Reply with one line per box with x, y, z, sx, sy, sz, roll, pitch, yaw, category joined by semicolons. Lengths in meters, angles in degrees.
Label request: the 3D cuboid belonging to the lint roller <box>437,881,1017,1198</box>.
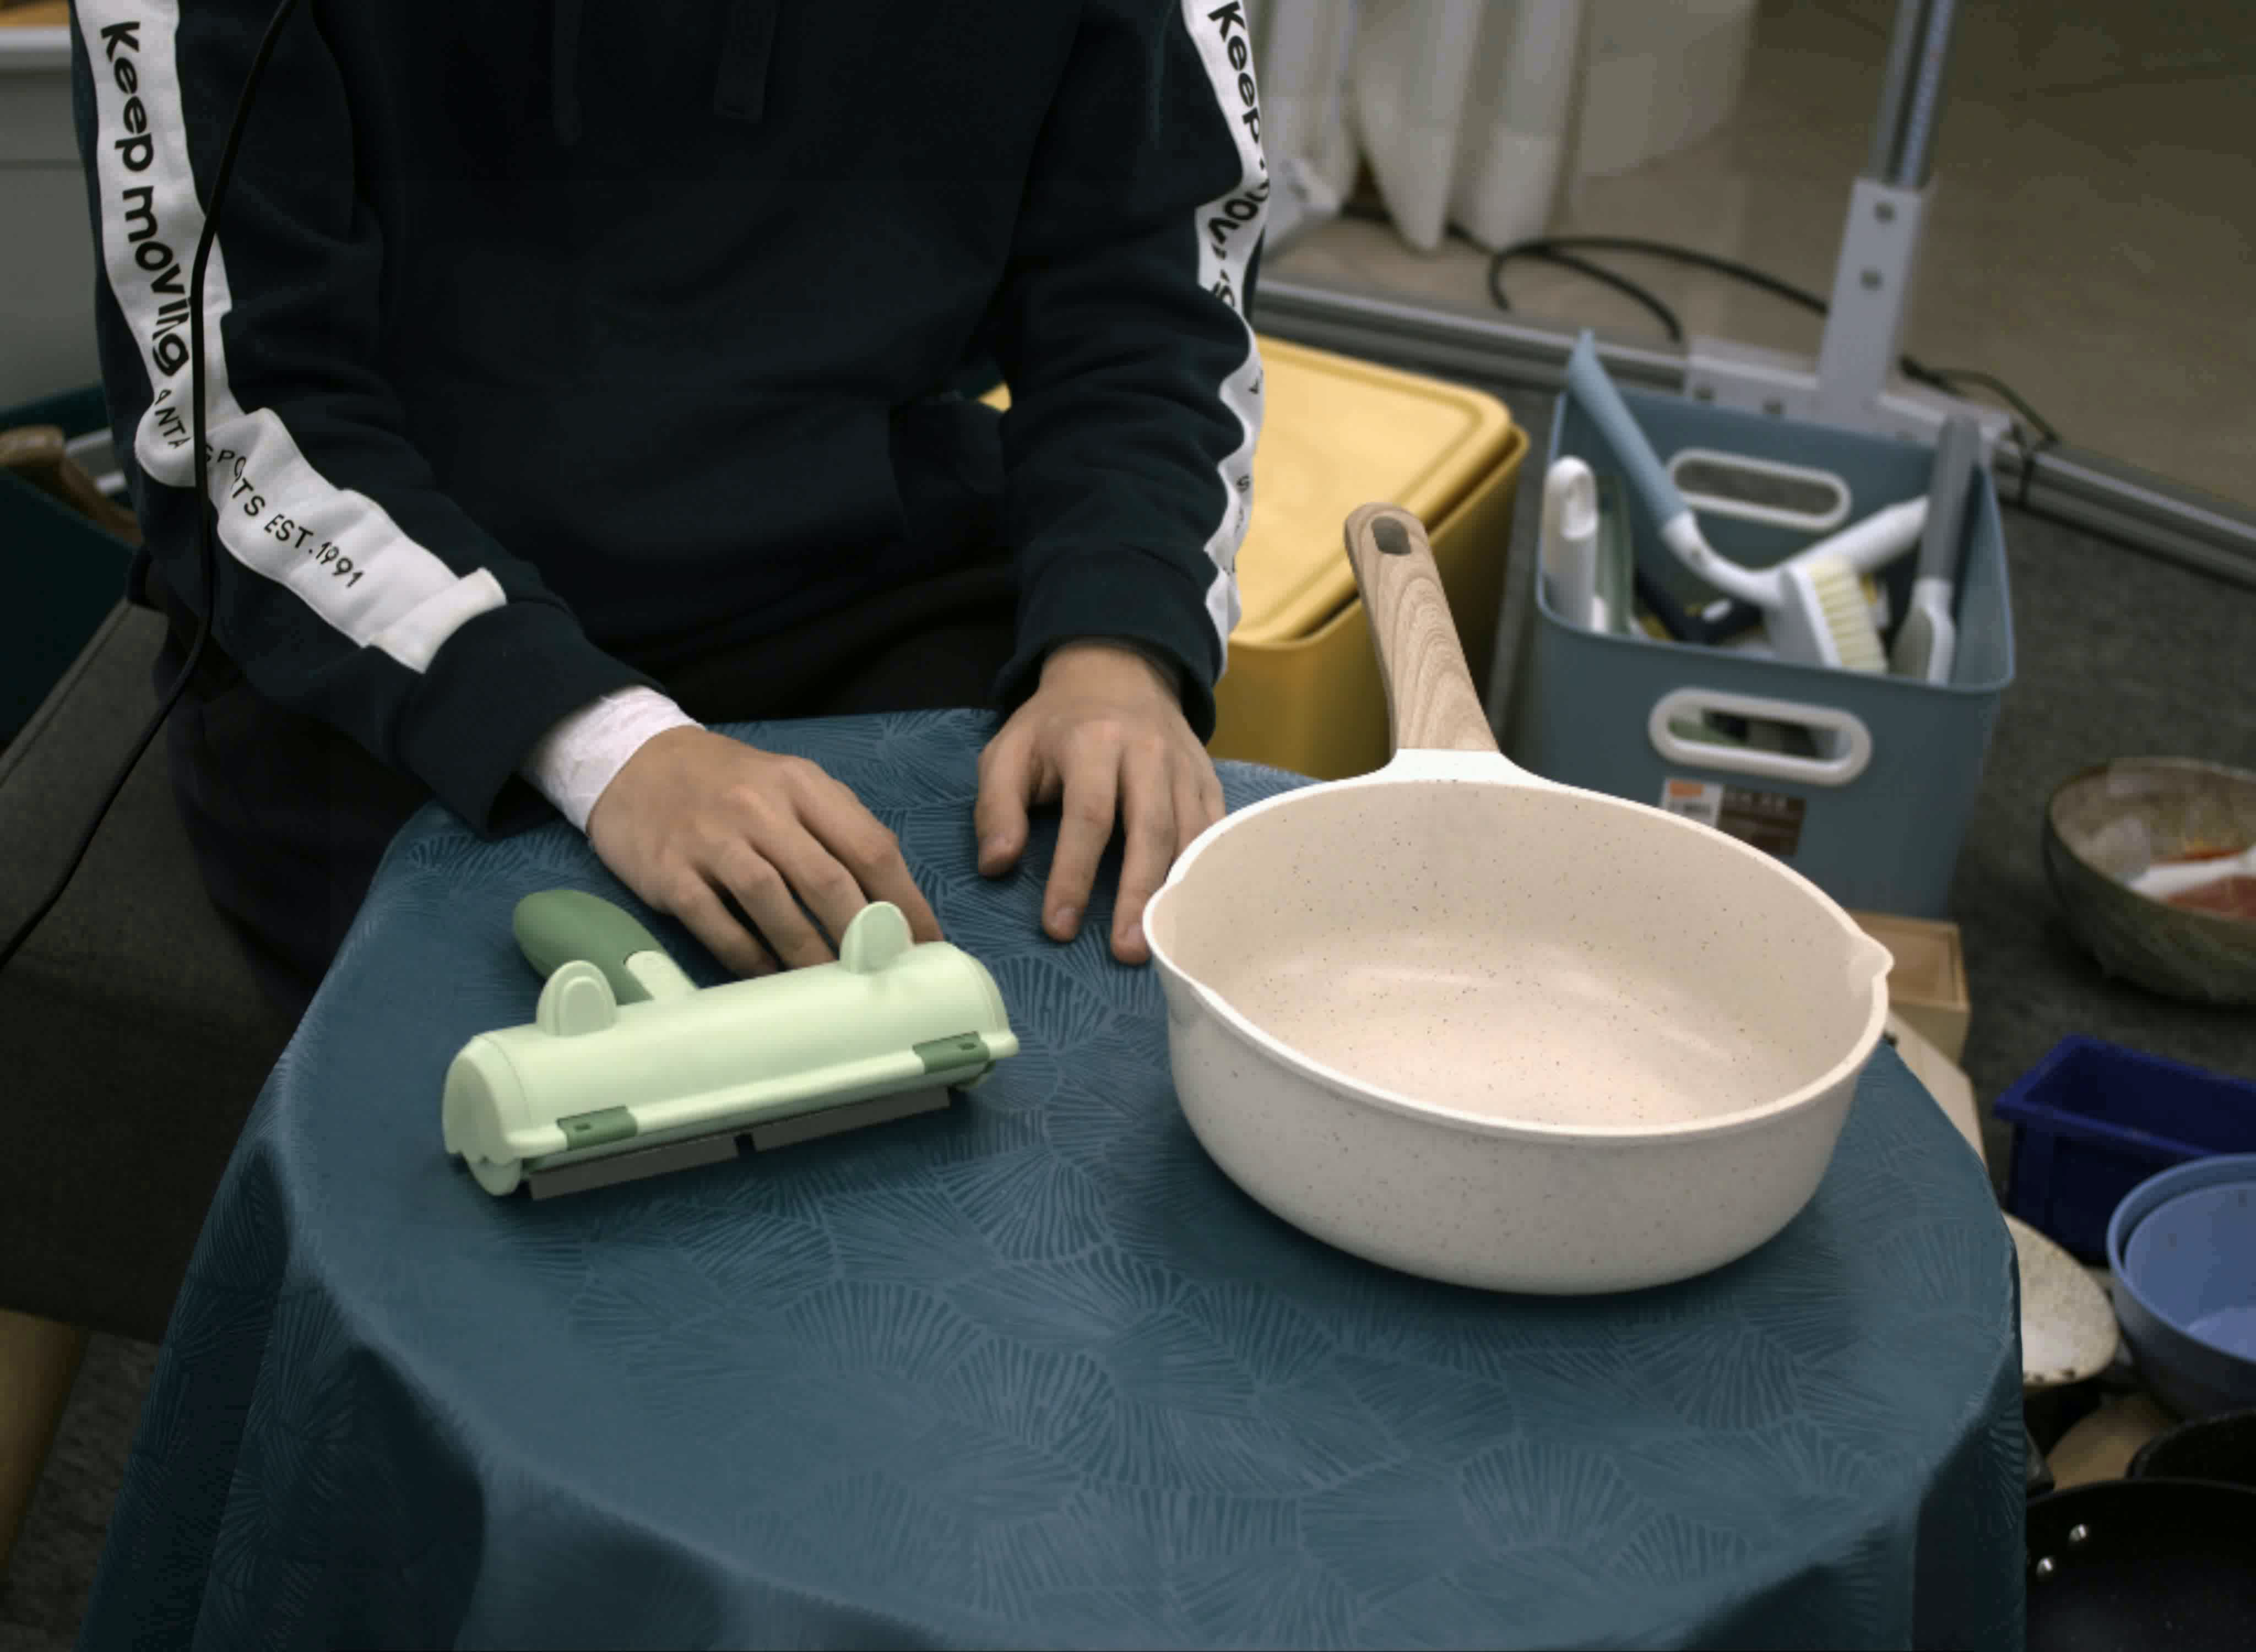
-0.162;0.047;1.830;0.197;0.082;0.185;-11;37;-30;lint roller

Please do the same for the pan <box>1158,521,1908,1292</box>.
0.124;0.026;1.910;0.262;0.101;0.438;0;27;-9;pan
